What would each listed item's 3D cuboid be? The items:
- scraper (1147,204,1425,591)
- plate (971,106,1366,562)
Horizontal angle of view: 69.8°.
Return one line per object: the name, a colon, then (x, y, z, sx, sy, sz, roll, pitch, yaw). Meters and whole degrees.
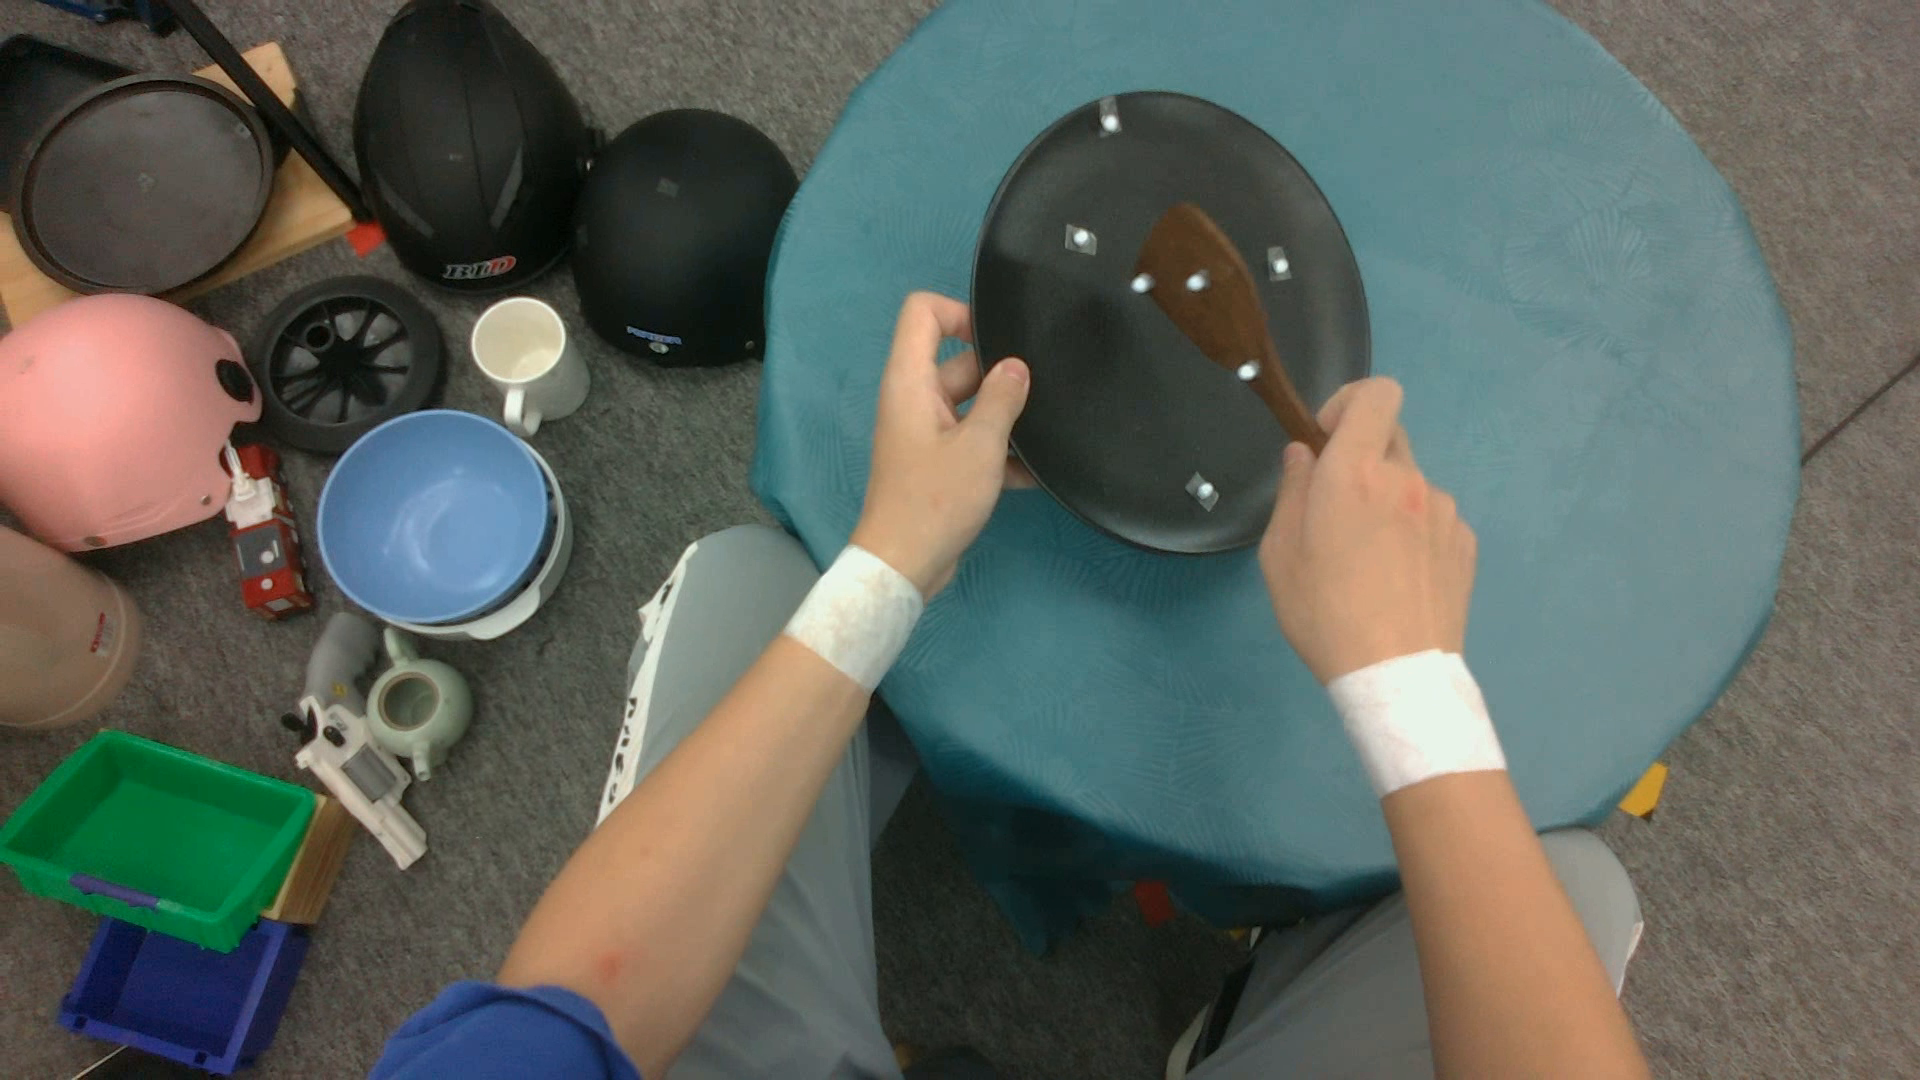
scraper: (0.160, -0.066, 0.669, 0.011, 0.075, 0.211, -29, 81, -20)
plate: (0.113, -0.109, 0.734, 0.245, 0.023, 0.244, 2, 85, -24)
